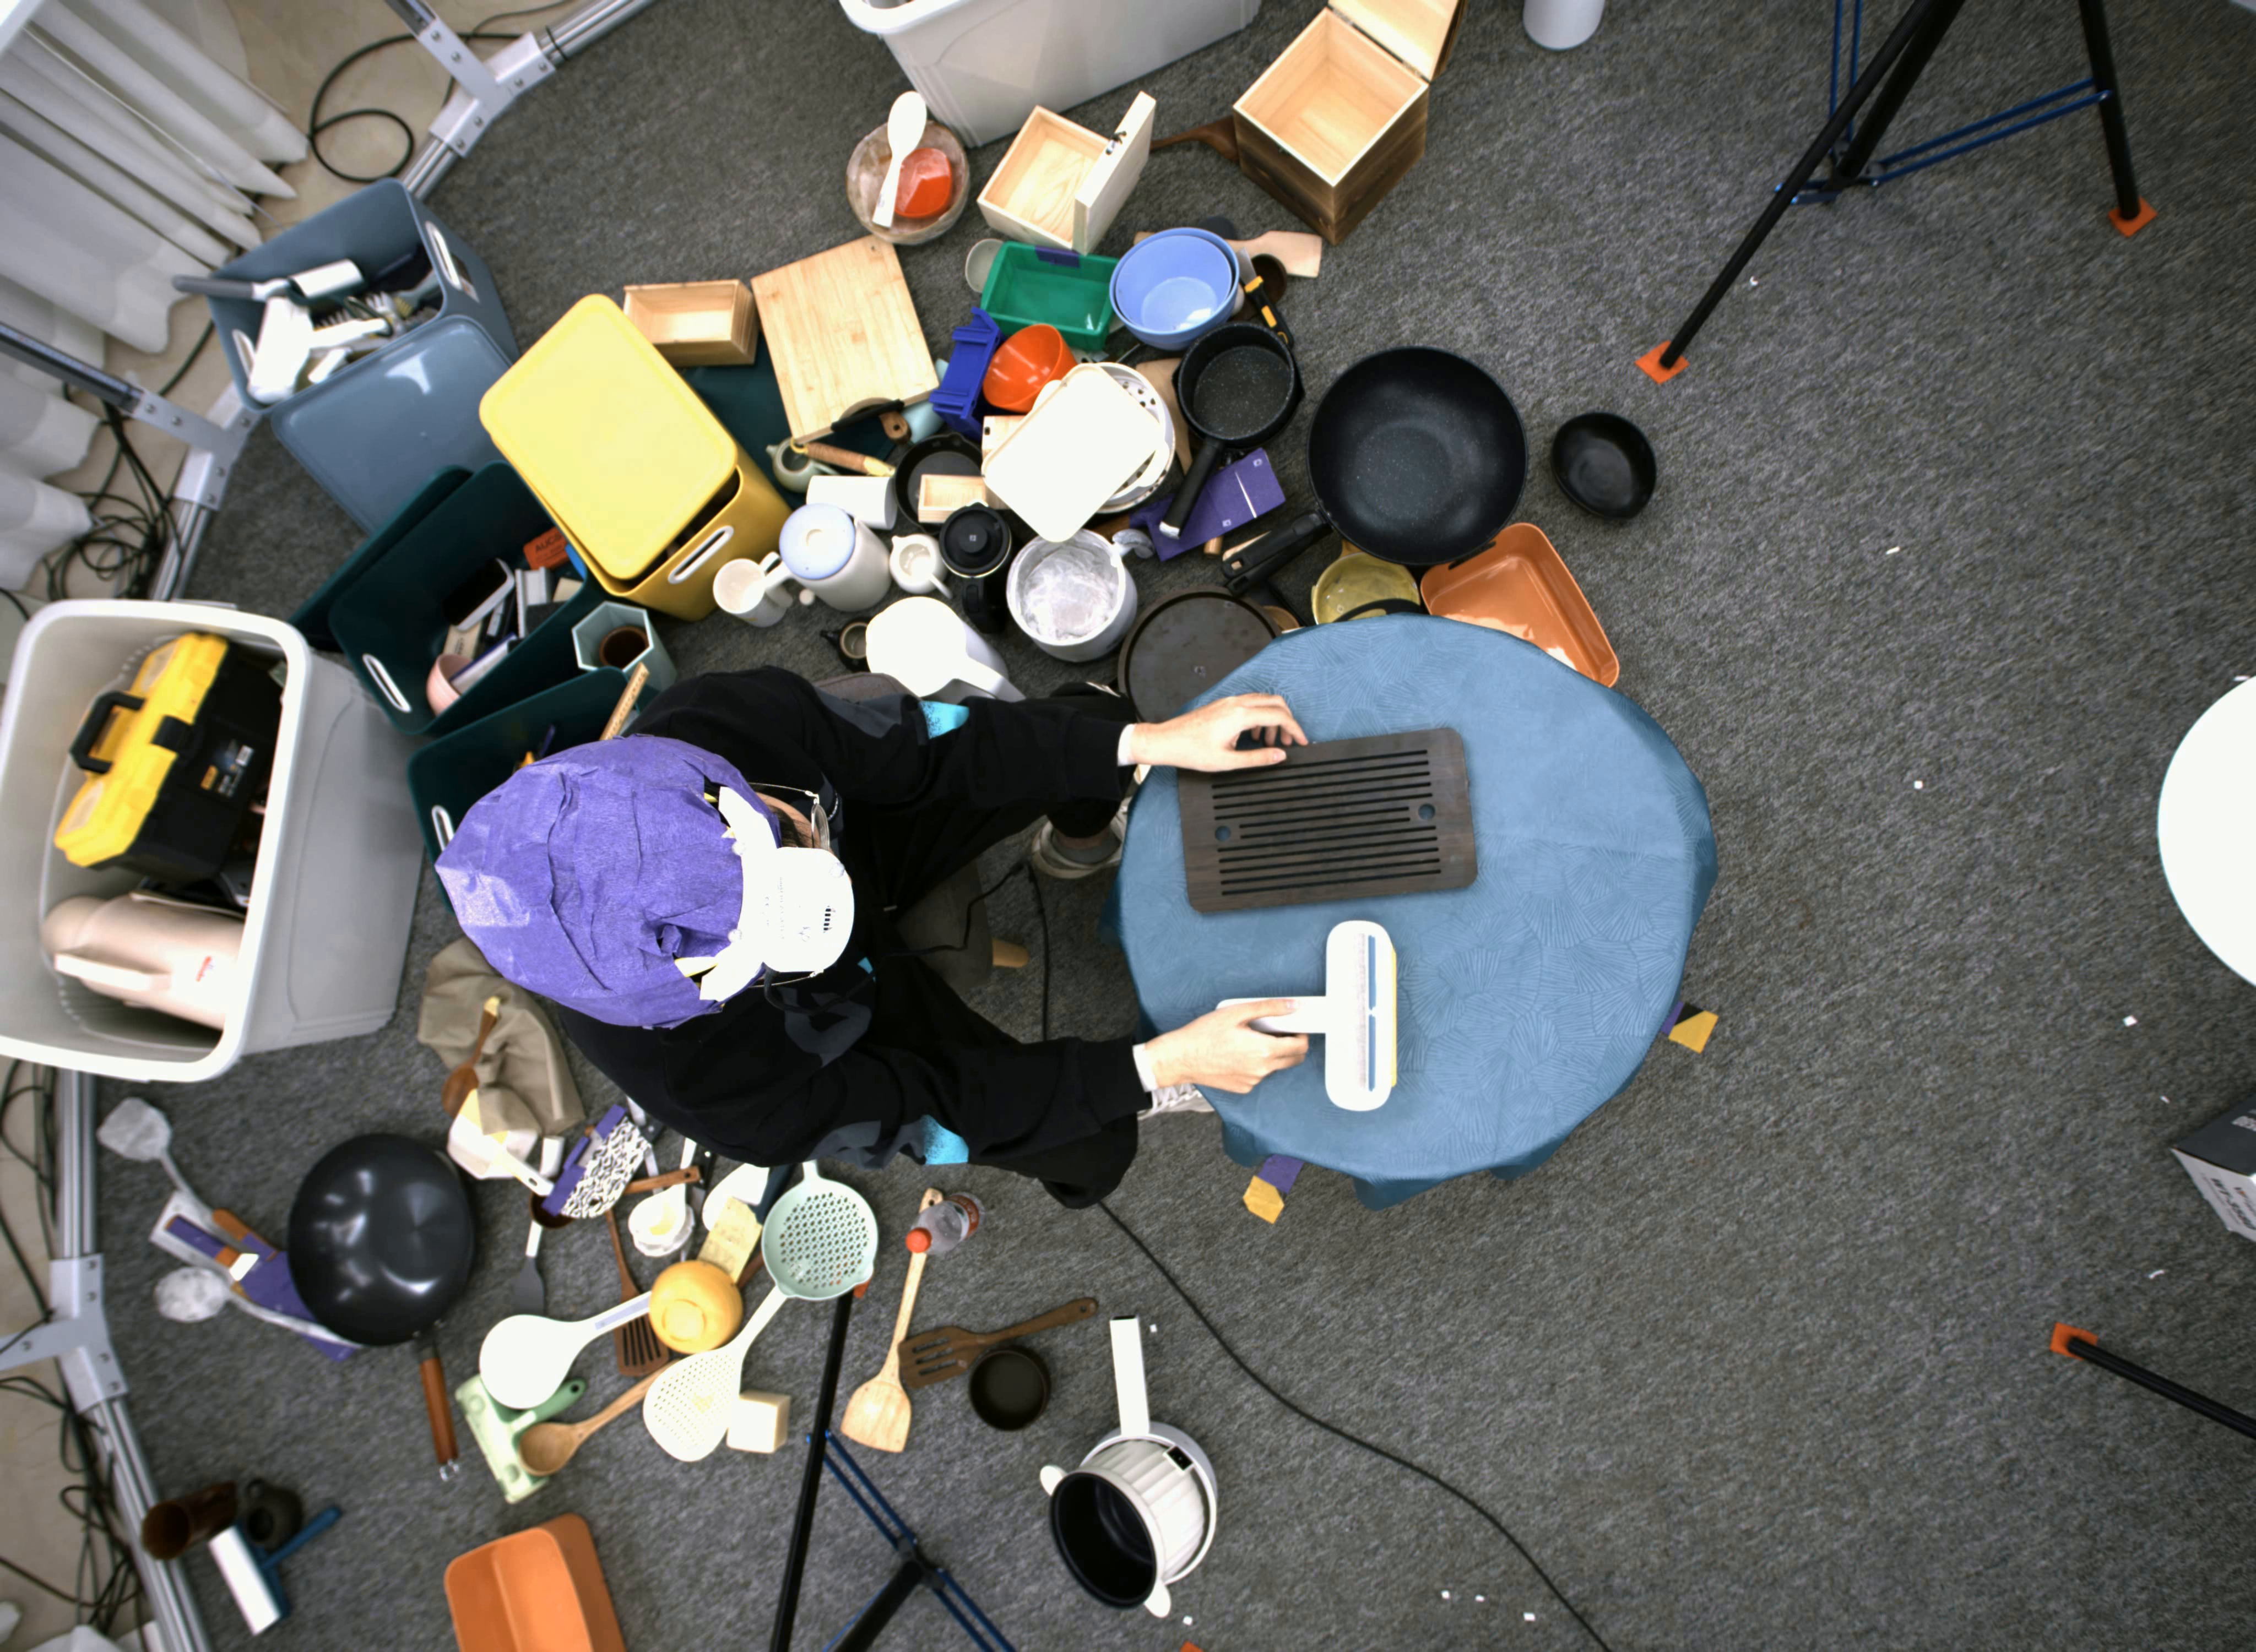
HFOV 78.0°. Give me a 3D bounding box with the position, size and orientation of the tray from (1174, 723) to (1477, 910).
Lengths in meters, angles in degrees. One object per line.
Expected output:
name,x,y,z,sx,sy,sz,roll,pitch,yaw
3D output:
tray,0.206,-0.010,1.462,0.307,0.018,0.169,-6,86,10

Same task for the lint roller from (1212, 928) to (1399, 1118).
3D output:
lint roller,0.179,0.197,1.432,0.193,0.074,0.191,3,81,12
